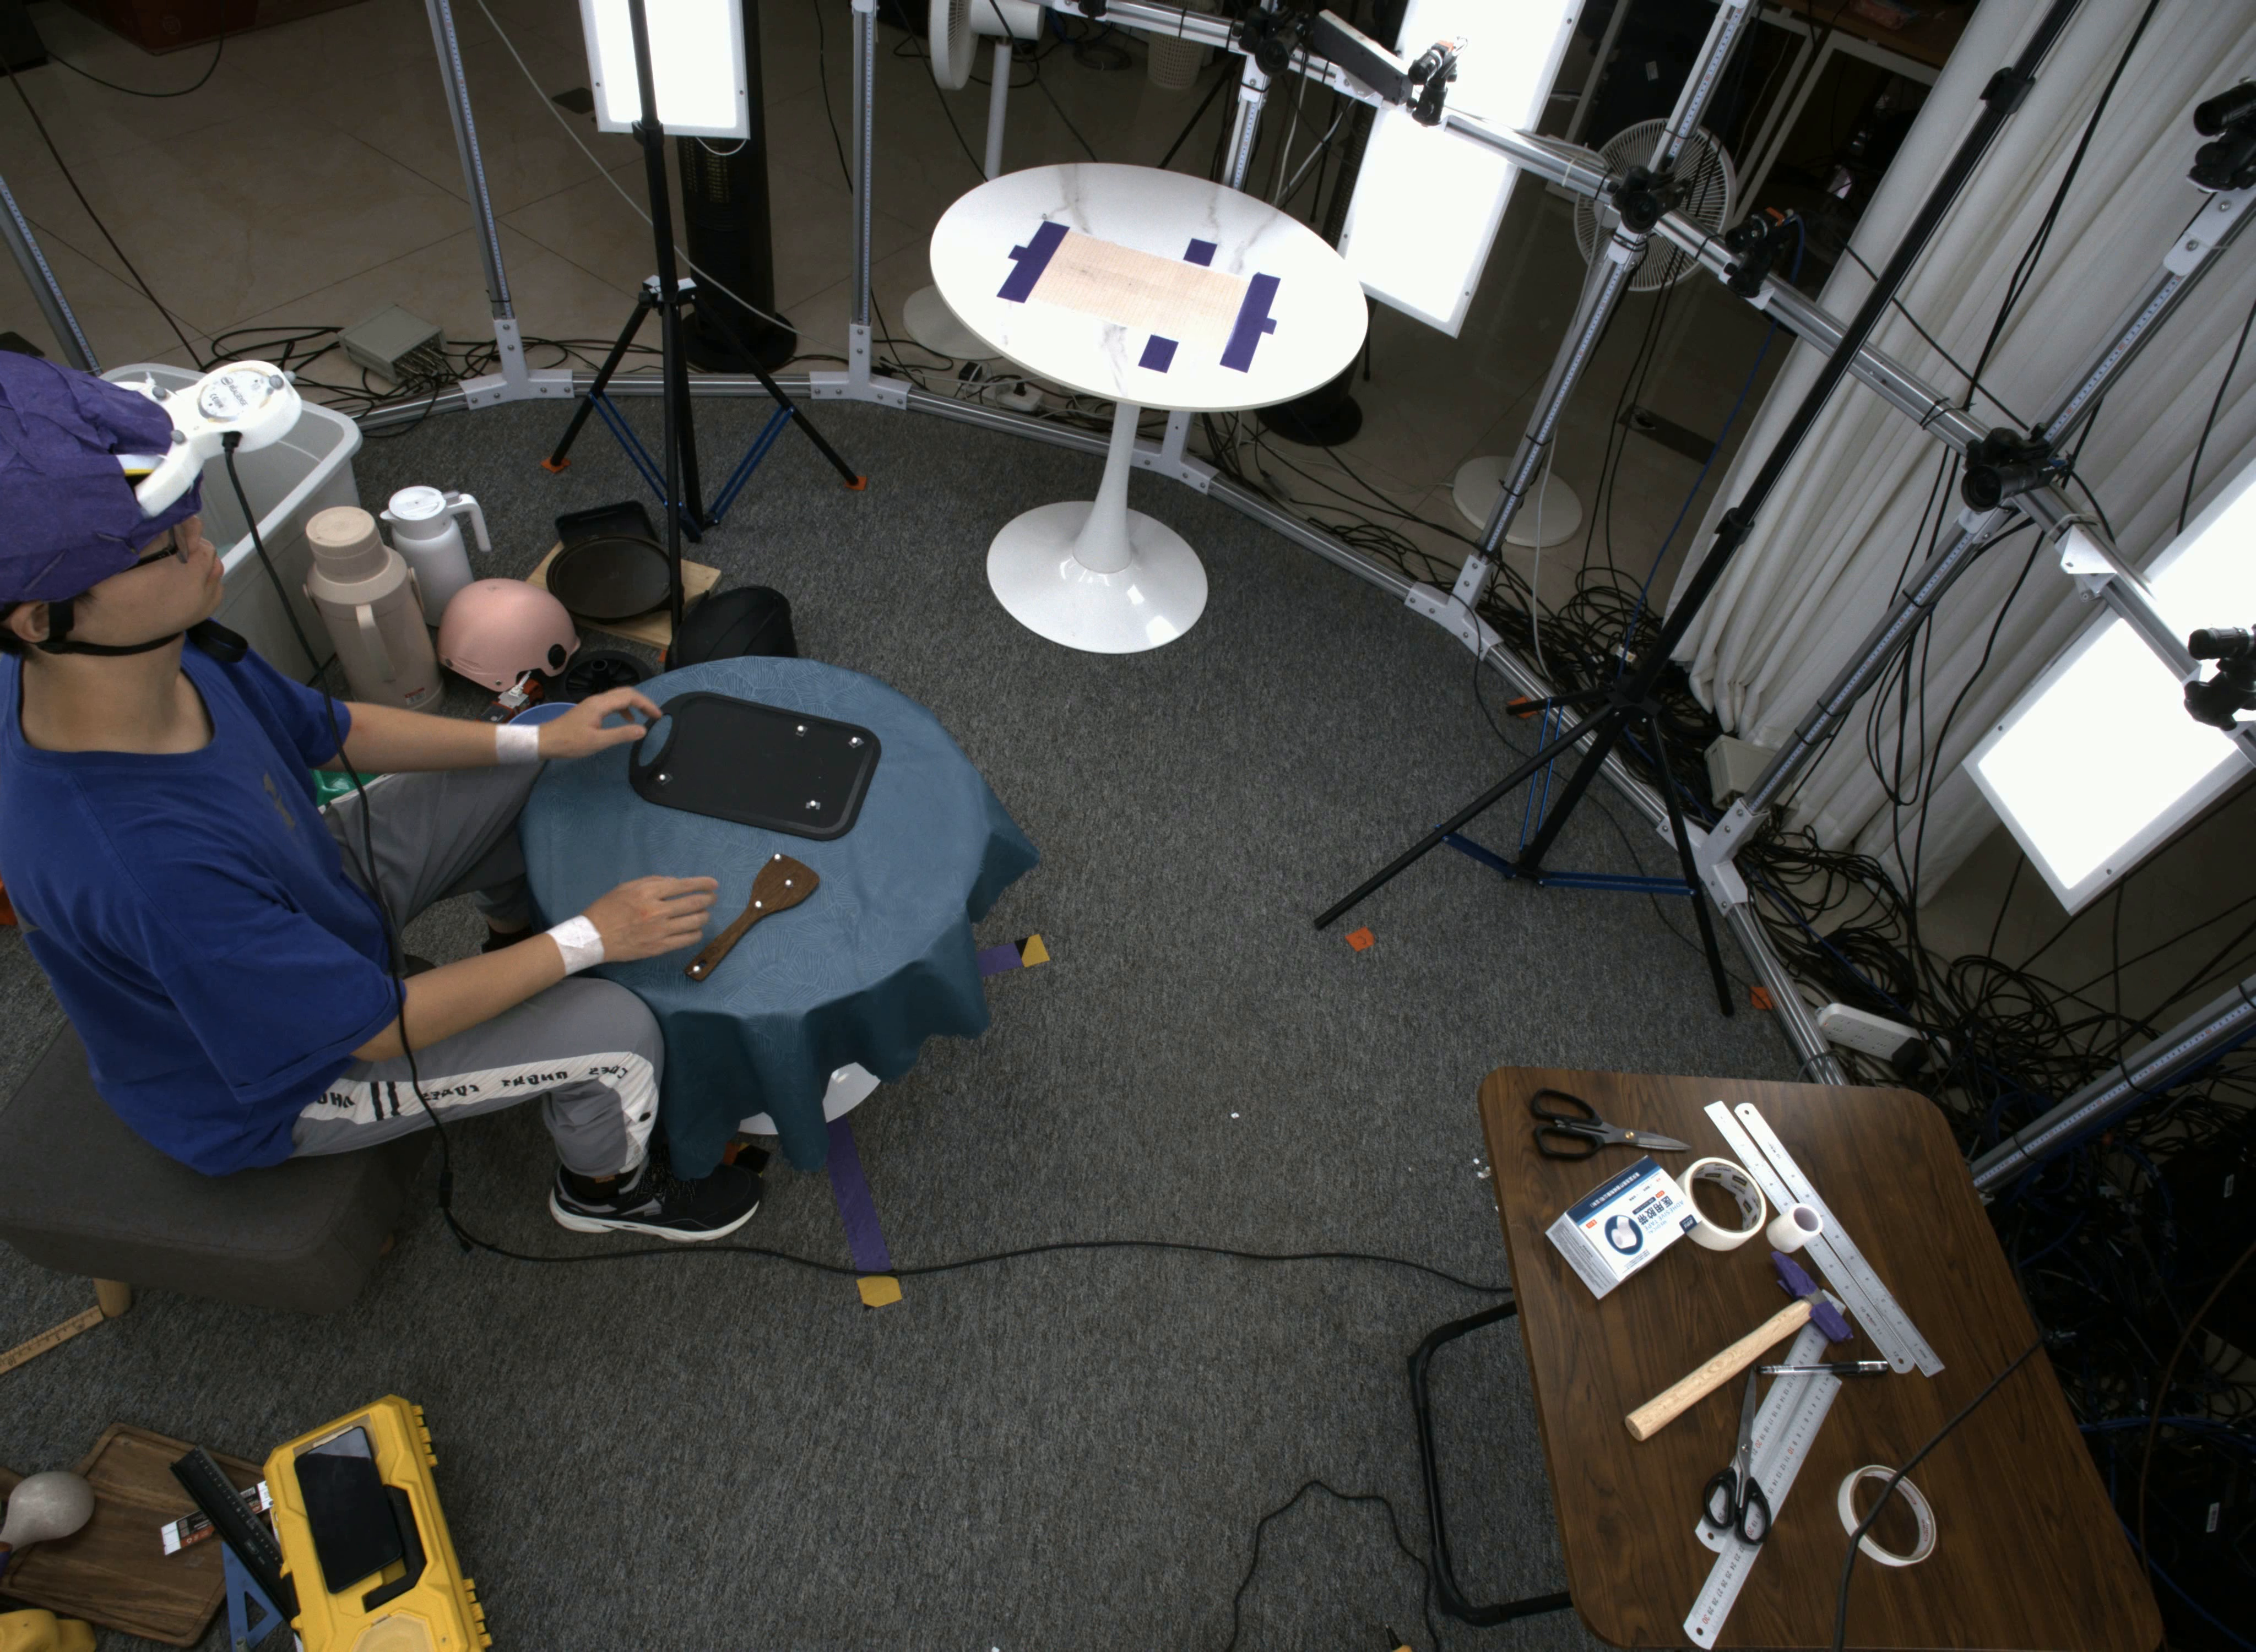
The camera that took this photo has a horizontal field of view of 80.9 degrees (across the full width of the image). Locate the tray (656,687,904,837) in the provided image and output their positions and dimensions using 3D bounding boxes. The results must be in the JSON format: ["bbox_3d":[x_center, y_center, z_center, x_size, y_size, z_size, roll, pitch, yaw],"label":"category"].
[{"bbox_3d":[-0.485,-0.094,1.784,0.323,0.010,0.208,14,52,-3],"label":"tray"}]

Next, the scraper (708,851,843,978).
[{"bbox_3d":[-0.452,0.112,1.638,0.074,0.011,0.211,32,54,11],"label":"scraper"}]
